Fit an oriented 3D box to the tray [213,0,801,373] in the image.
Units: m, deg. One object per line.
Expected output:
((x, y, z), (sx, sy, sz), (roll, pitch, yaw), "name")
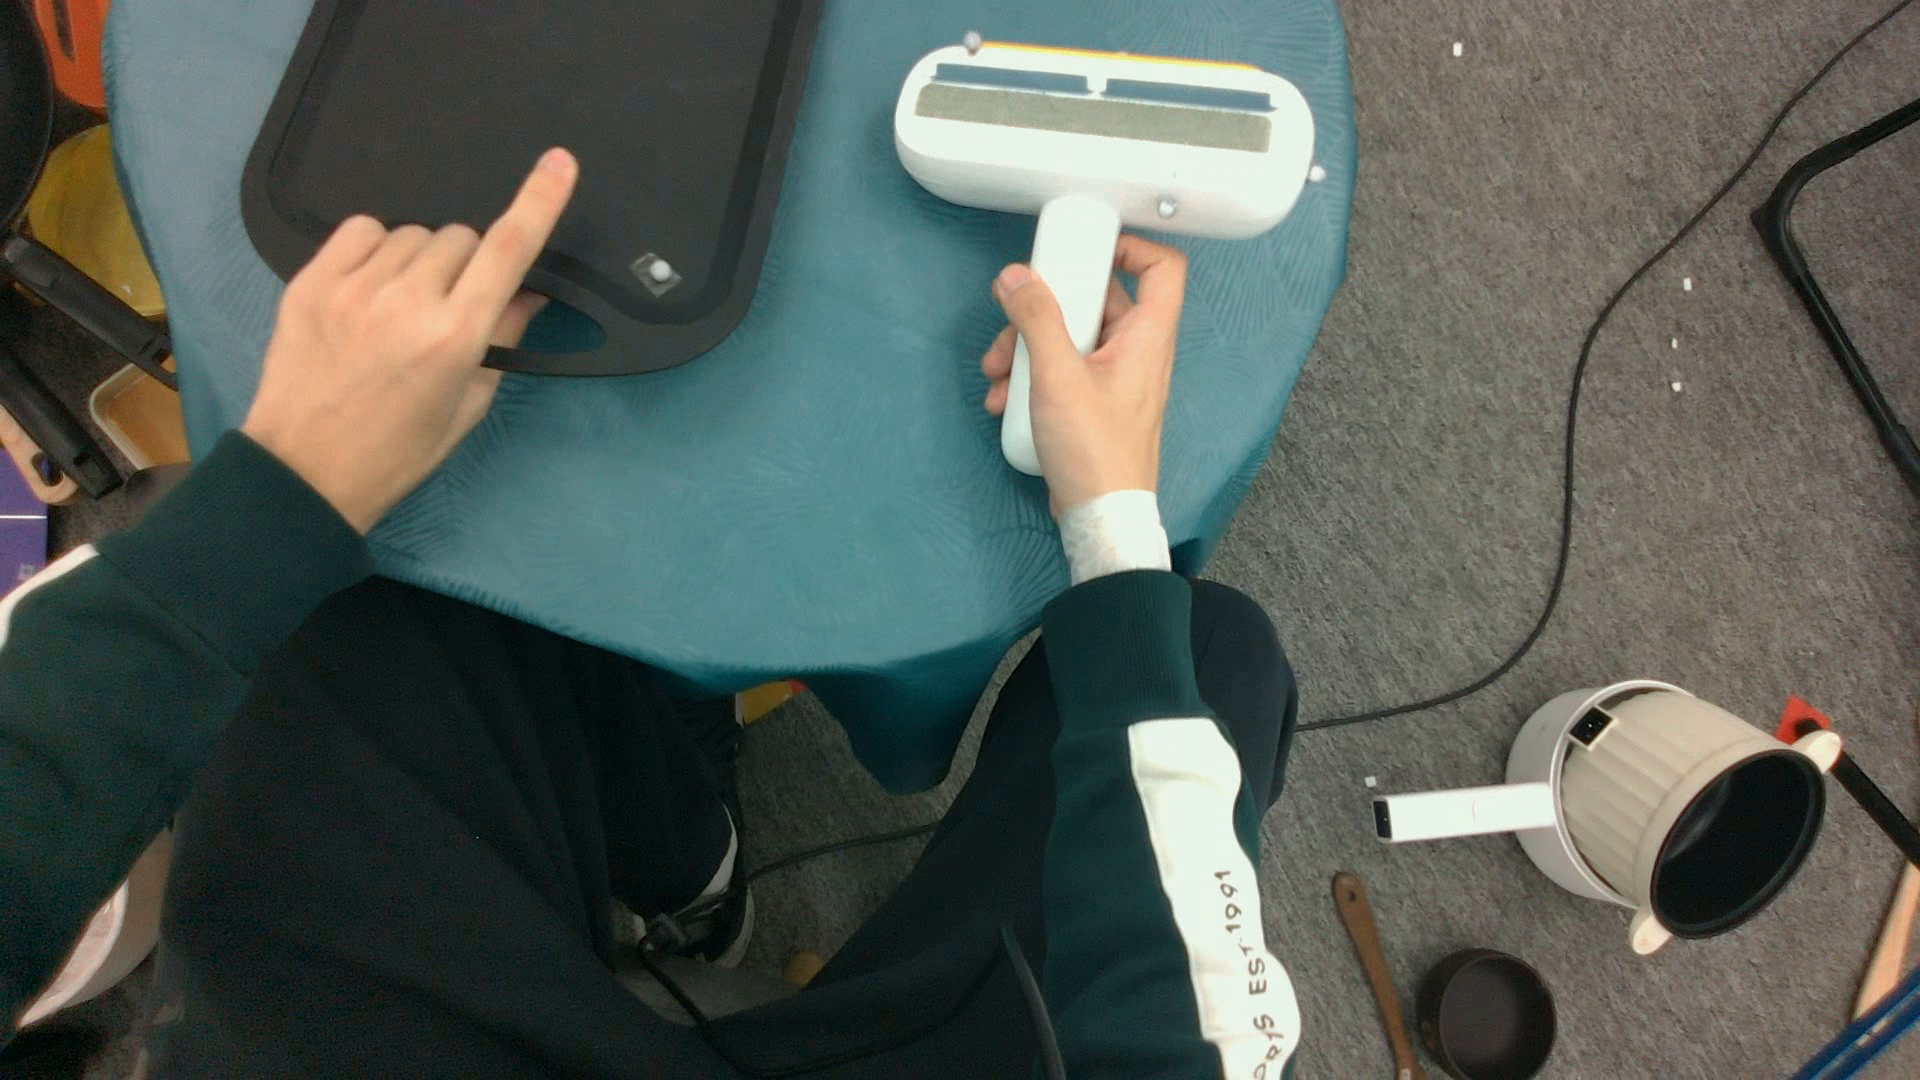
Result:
((-0.185, -0.221, 0.612), (0.211, 0.010, 0.326), (13, 67, -10), "tray")

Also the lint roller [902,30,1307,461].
((0.050, -0.130, 0.651), (0.193, 0.074, 0.192), (19, 98, 17), "lint roller")
